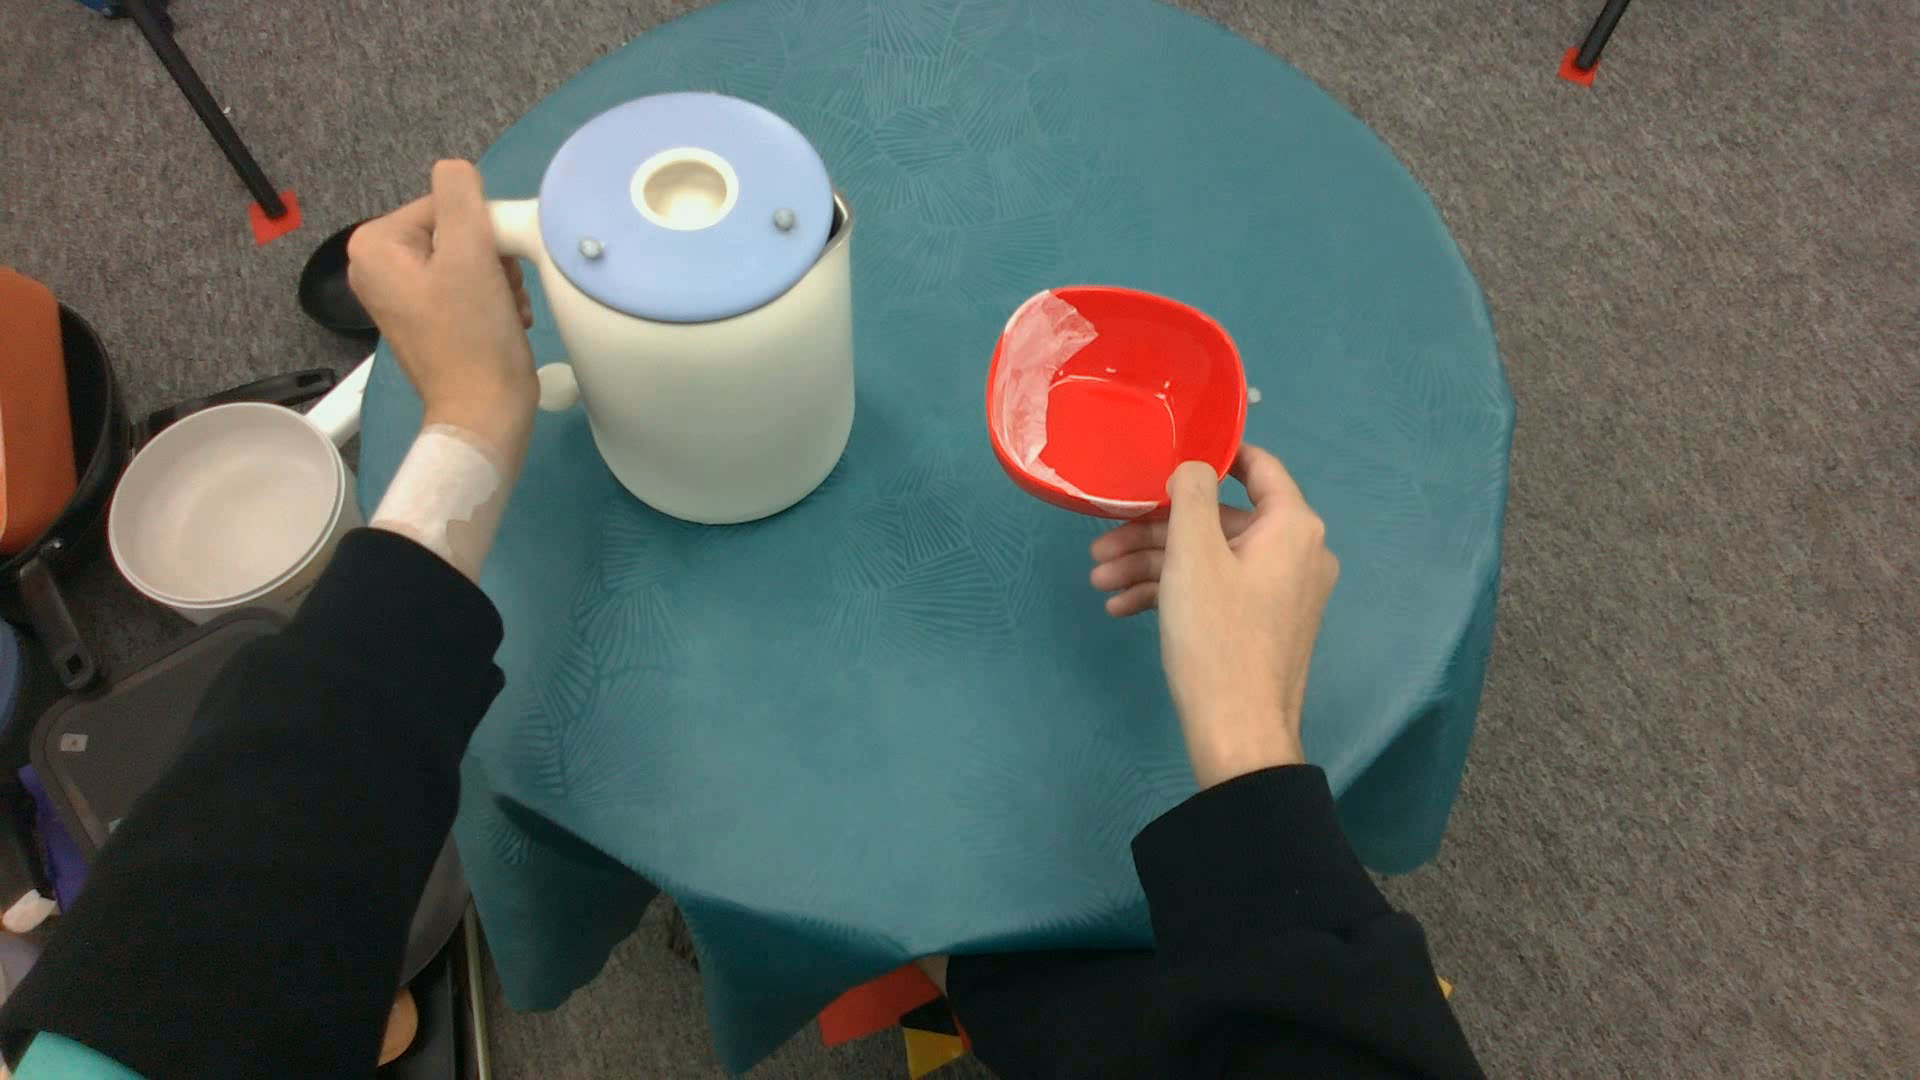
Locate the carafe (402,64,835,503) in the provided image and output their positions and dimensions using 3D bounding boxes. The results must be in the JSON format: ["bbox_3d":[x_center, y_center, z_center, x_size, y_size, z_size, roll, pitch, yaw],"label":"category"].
[{"bbox_3d":[-0.151,-0.111,0.628,0.191,0.182,0.133,1,62,-3],"label":"carafe"}]

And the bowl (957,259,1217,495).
[{"bbox_3d":[0.052,-0.063,0.600,0.119,0.051,0.119,3,62,-6],"label":"bowl"}]
